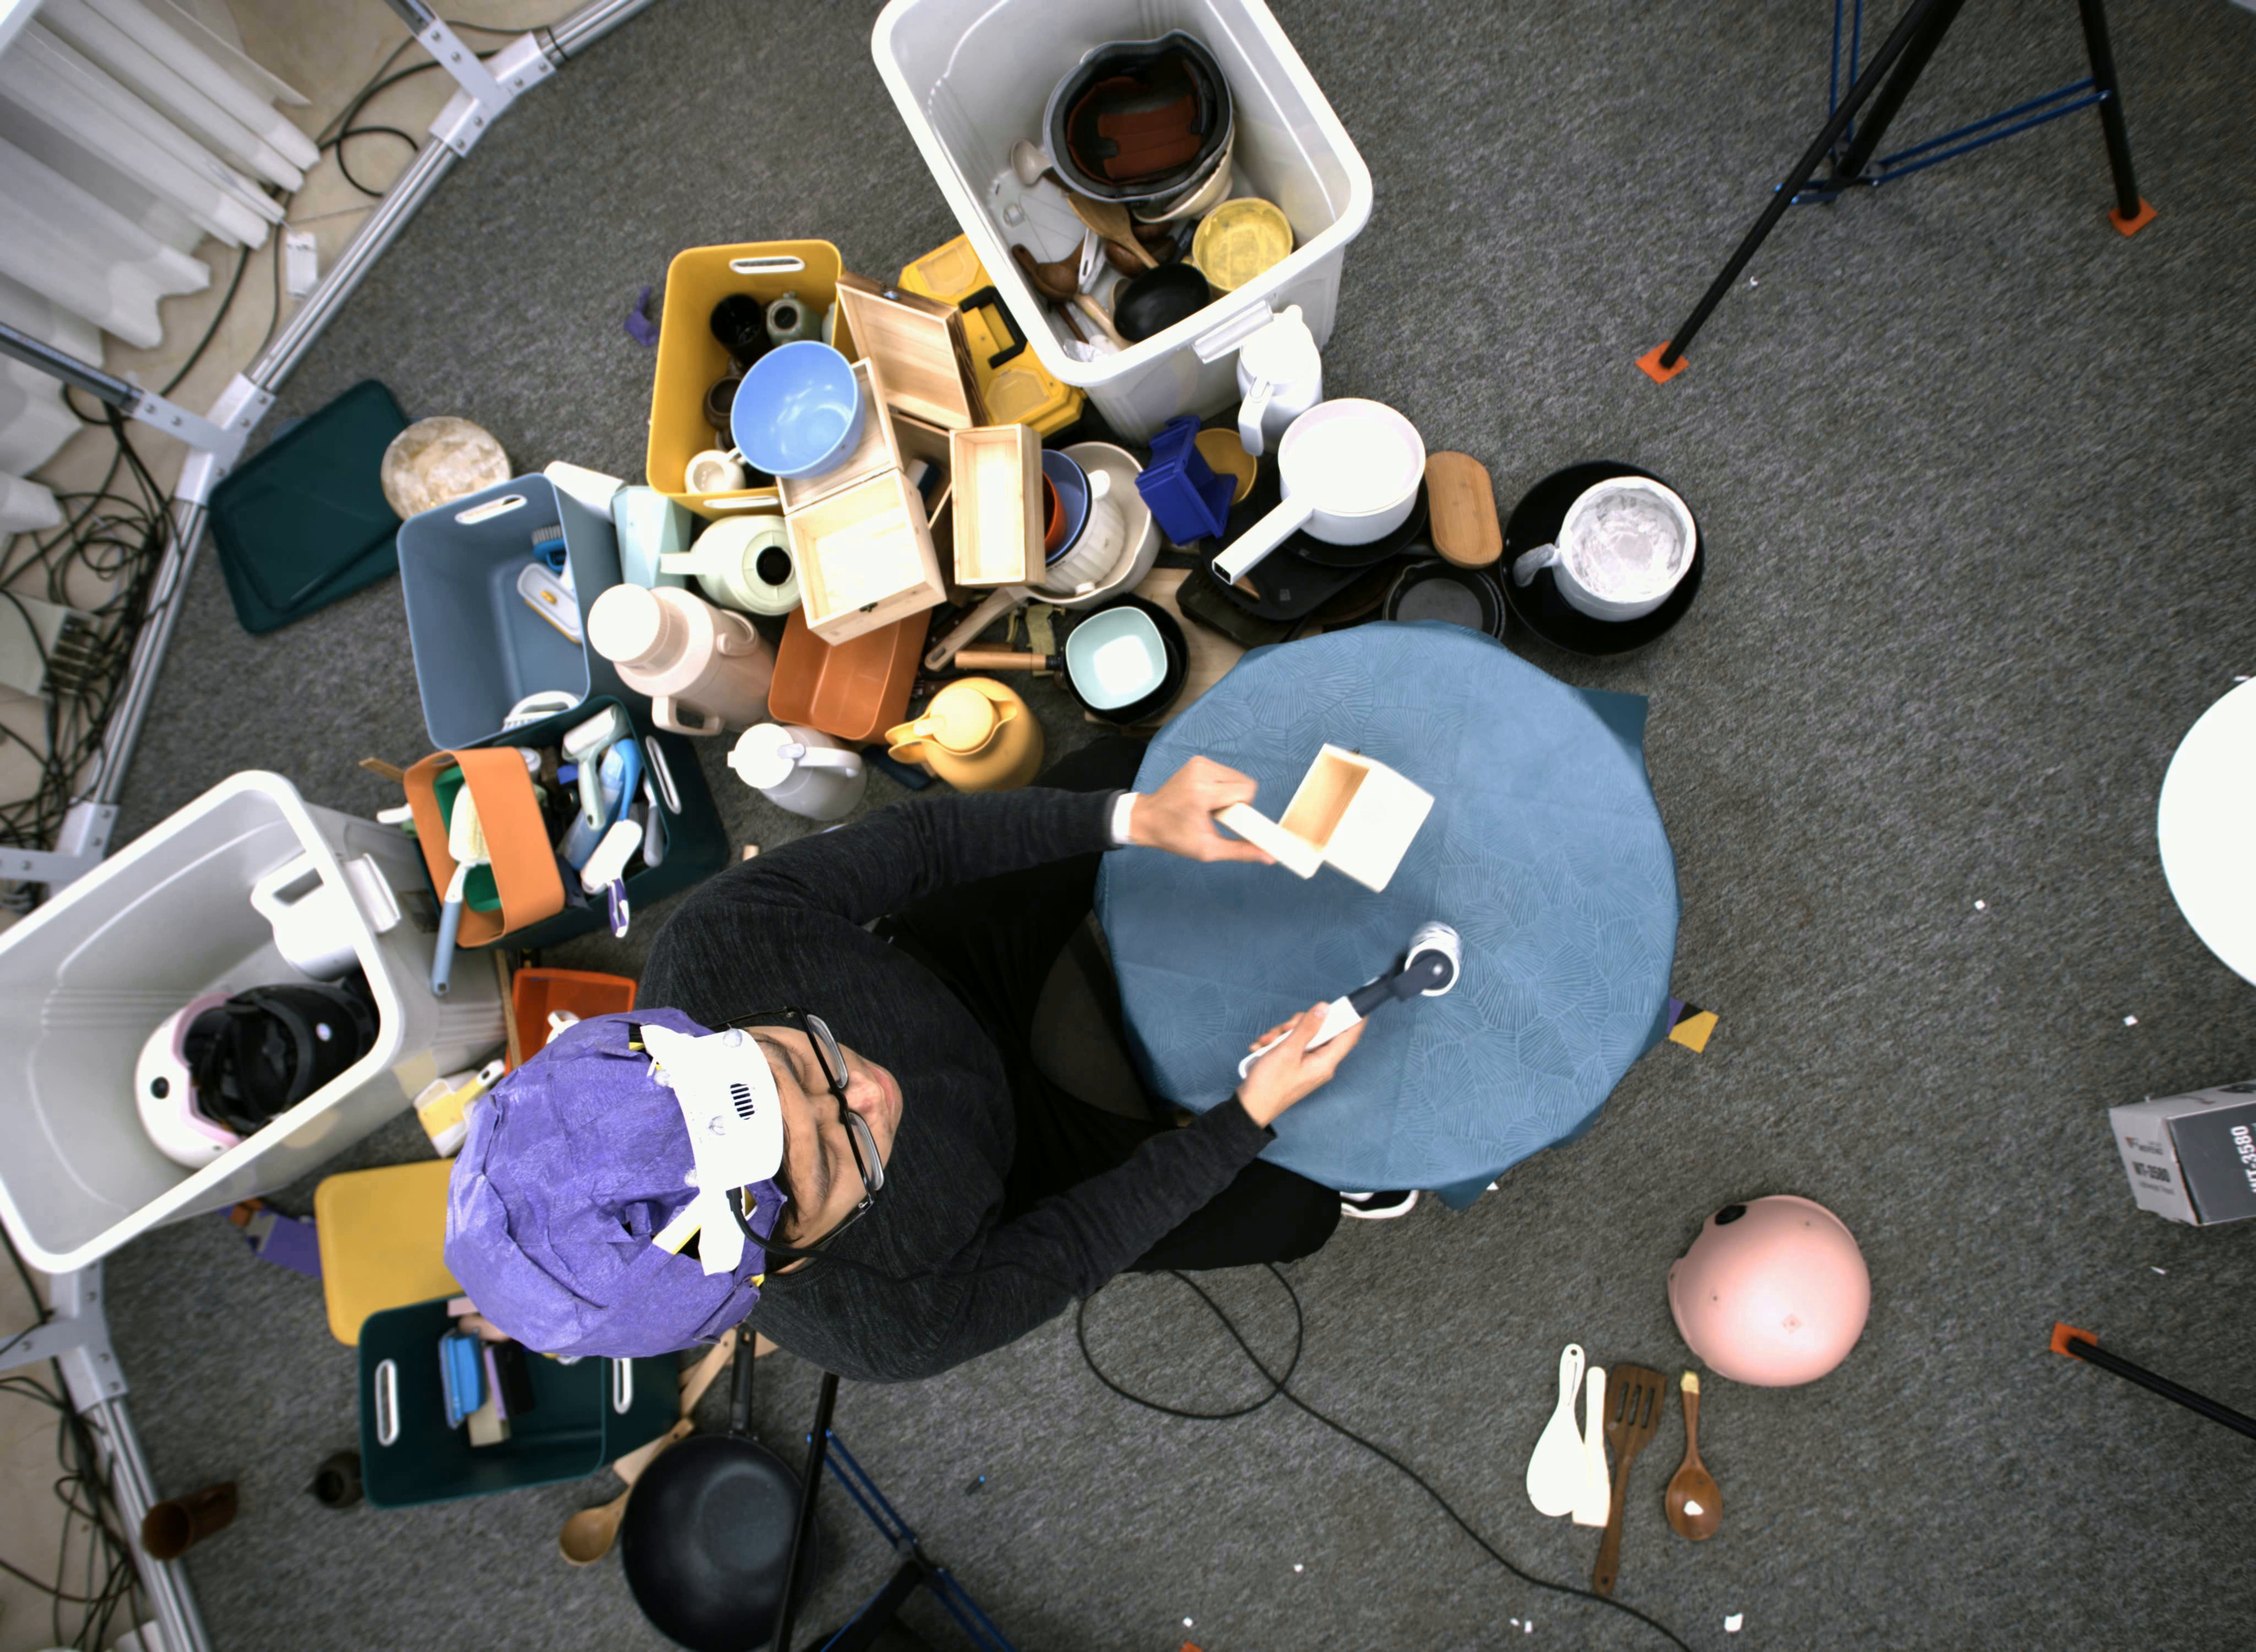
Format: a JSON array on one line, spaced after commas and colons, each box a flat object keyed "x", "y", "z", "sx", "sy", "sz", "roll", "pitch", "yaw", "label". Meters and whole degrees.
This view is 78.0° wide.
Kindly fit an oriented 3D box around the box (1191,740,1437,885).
[{"x": 0.178, "y": -0.029, "z": 1.322, "sx": 0.185, "sy": 0.102, "sz": 0.134, "roll": 27, "pitch": 93, "yaw": -27, "label": "box"}]

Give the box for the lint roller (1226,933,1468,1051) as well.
[{"x": 0.216, "y": 0.172, "z": 1.365, "sx": 0.249, "sy": 0.176, "sz": 0.050, "roll": -25, "pitch": 78, "yaw": 9, "label": "lint roller"}]
